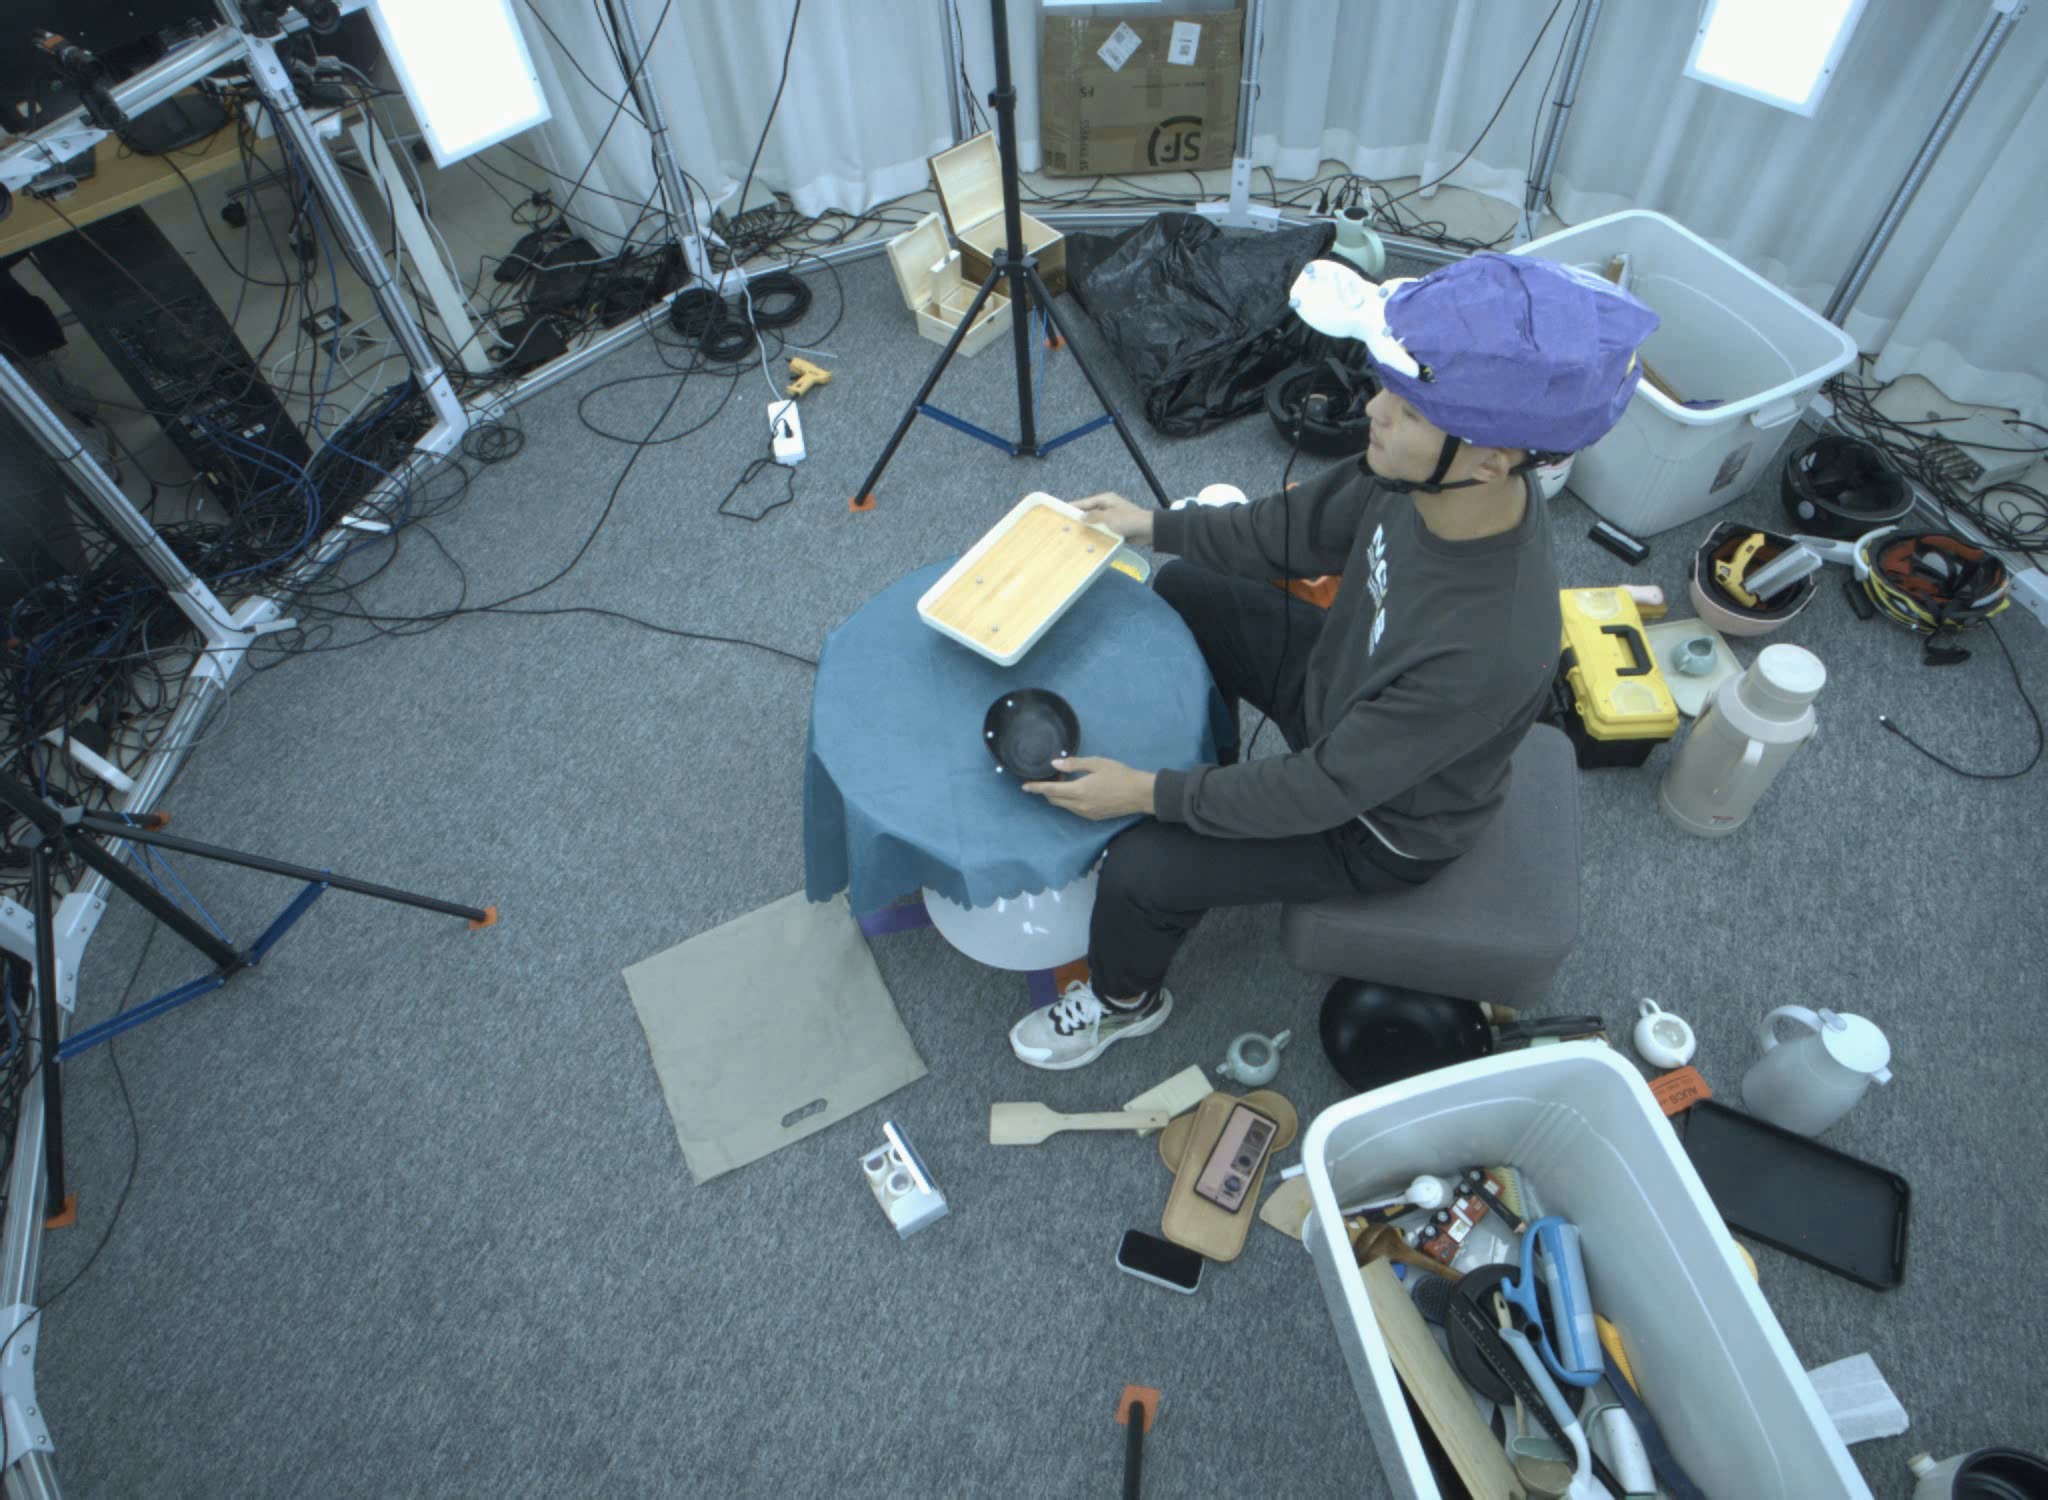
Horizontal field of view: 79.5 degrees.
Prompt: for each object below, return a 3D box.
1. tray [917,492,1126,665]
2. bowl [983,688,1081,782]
[{"bbox_3d":[-0.002,-0.268,1.876,0.188,0.028,0.301,31,65,25],"label":"tray"},{"bbox_3d":[0.011,-0.013,1.756,0.138,0.067,0.168,-9,53,-6],"label":"bowl"}]
